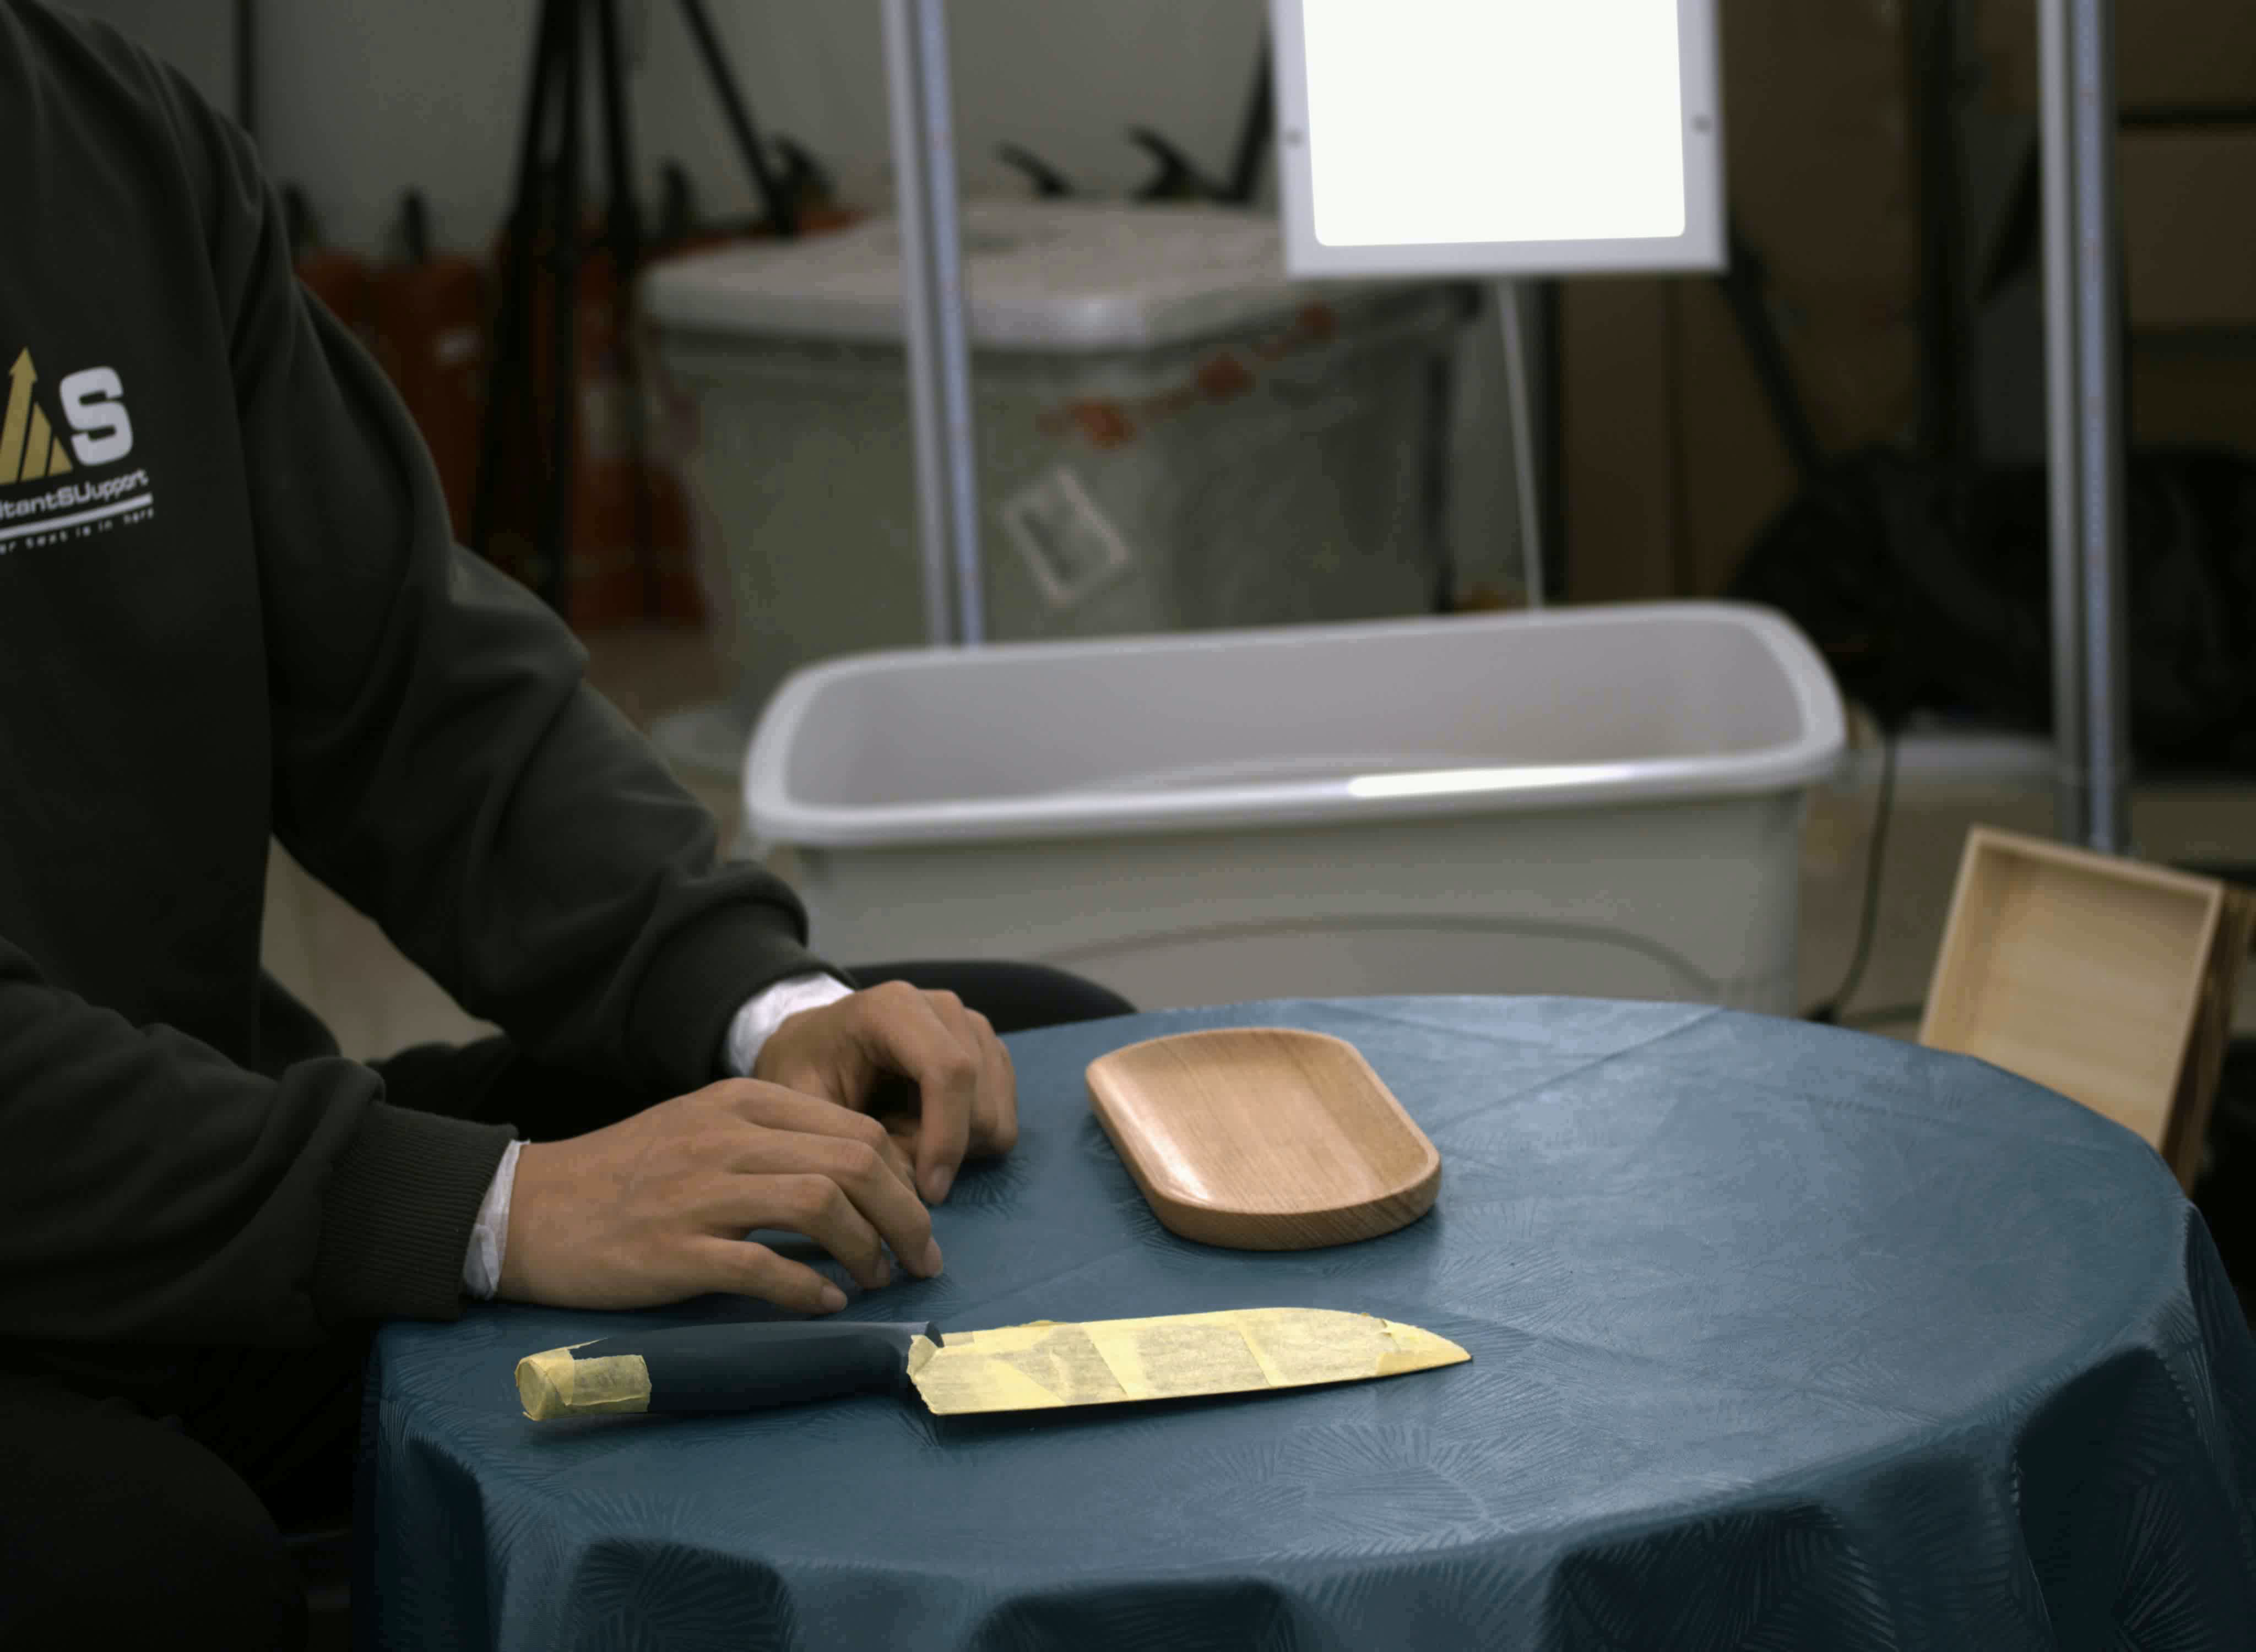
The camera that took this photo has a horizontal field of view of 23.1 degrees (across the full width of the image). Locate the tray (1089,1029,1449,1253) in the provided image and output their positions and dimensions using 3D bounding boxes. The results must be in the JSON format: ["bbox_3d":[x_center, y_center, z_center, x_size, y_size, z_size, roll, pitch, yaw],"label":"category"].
[{"bbox_3d":[0.048,0.109,1.926,0.101,0.020,0.232,-9,15,-8],"label":"tray"}]

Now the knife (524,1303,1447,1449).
[{"bbox_3d":[-0.042,0.170,1.709,0.287,0.027,0.081,-5,12,-4],"label":"knife"}]
